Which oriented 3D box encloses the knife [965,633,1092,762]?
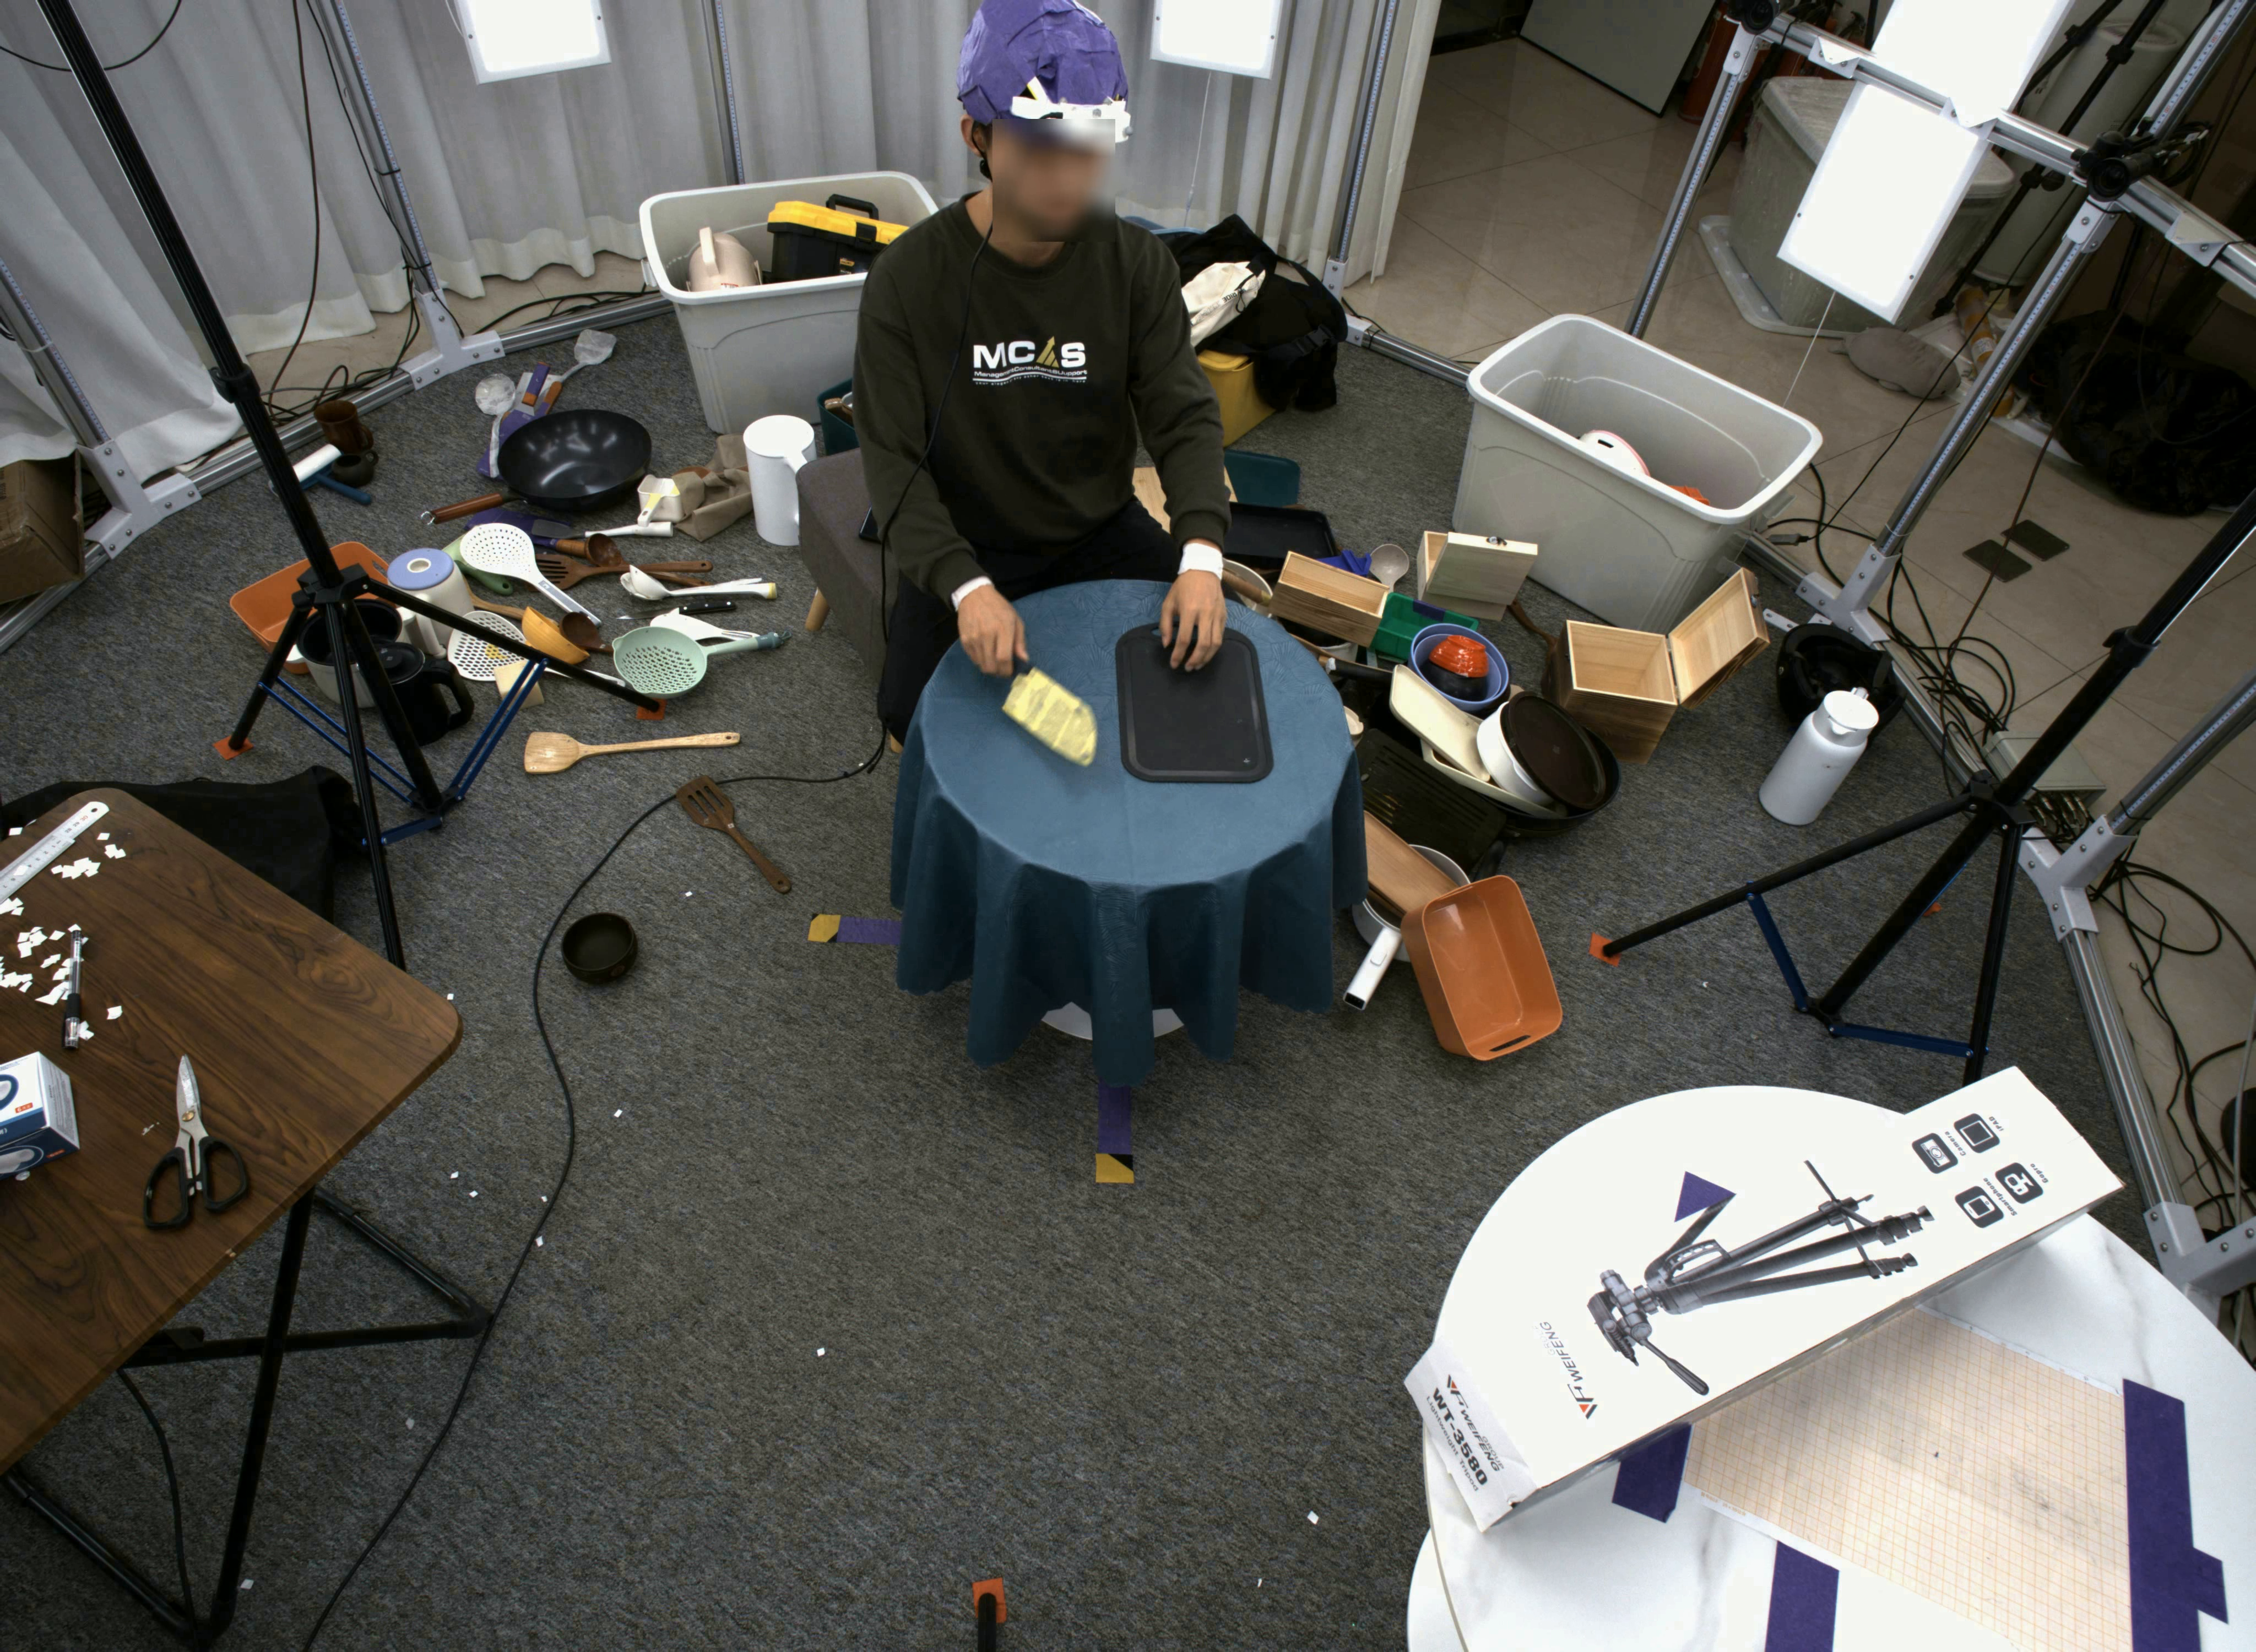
[{"bbox_3d":[-0.141,-0.178,1.757,0.295,0.080,0.027,43,15,33],"label":"knife"}]

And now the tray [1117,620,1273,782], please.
[{"bbox_3d":[0.091,-0.186,1.830,0.211,0.009,0.333,1,49,-3],"label":"tray"}]
